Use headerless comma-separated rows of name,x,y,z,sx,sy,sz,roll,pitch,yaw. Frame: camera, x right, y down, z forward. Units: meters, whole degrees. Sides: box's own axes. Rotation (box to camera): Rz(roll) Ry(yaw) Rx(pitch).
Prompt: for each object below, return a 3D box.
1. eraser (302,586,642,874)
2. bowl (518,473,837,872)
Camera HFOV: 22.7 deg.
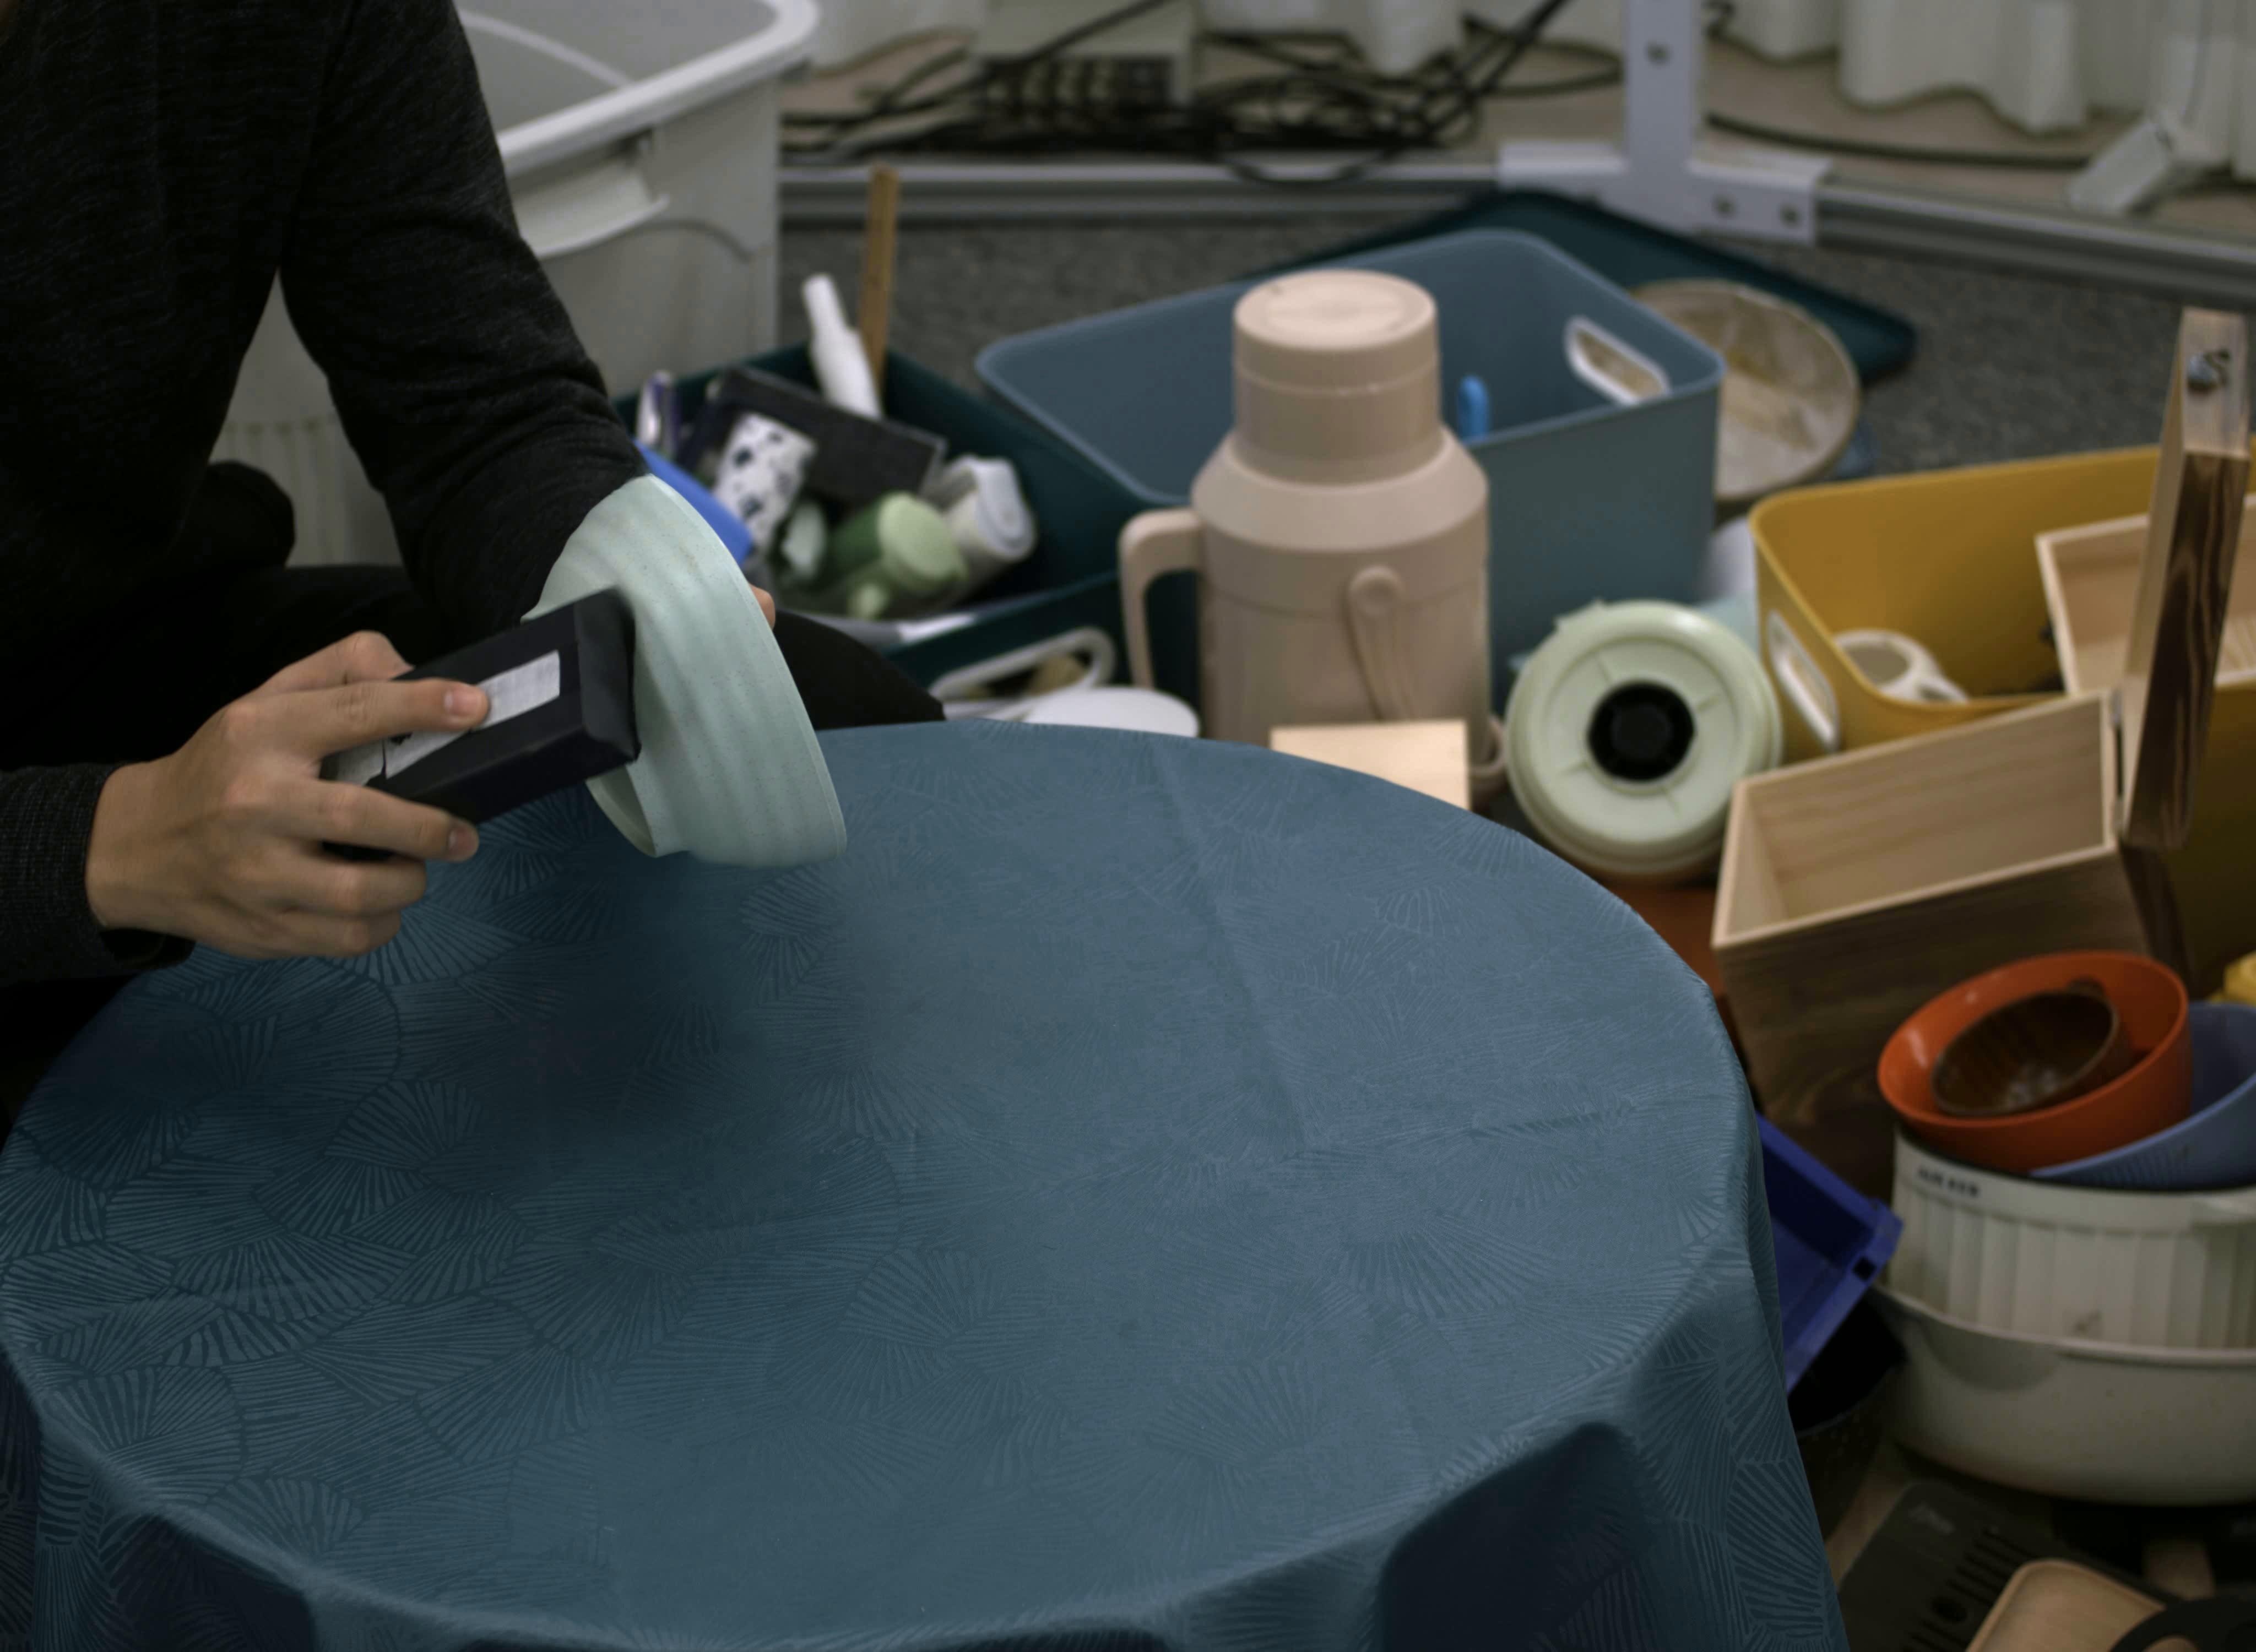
eraser,-0.213,-0.030,1.824,0.124,0.030,0.054,-23,57,26
bowl,-0.157,-0.041,1.876,0.059,0.150,0.152,-26,32,-13
